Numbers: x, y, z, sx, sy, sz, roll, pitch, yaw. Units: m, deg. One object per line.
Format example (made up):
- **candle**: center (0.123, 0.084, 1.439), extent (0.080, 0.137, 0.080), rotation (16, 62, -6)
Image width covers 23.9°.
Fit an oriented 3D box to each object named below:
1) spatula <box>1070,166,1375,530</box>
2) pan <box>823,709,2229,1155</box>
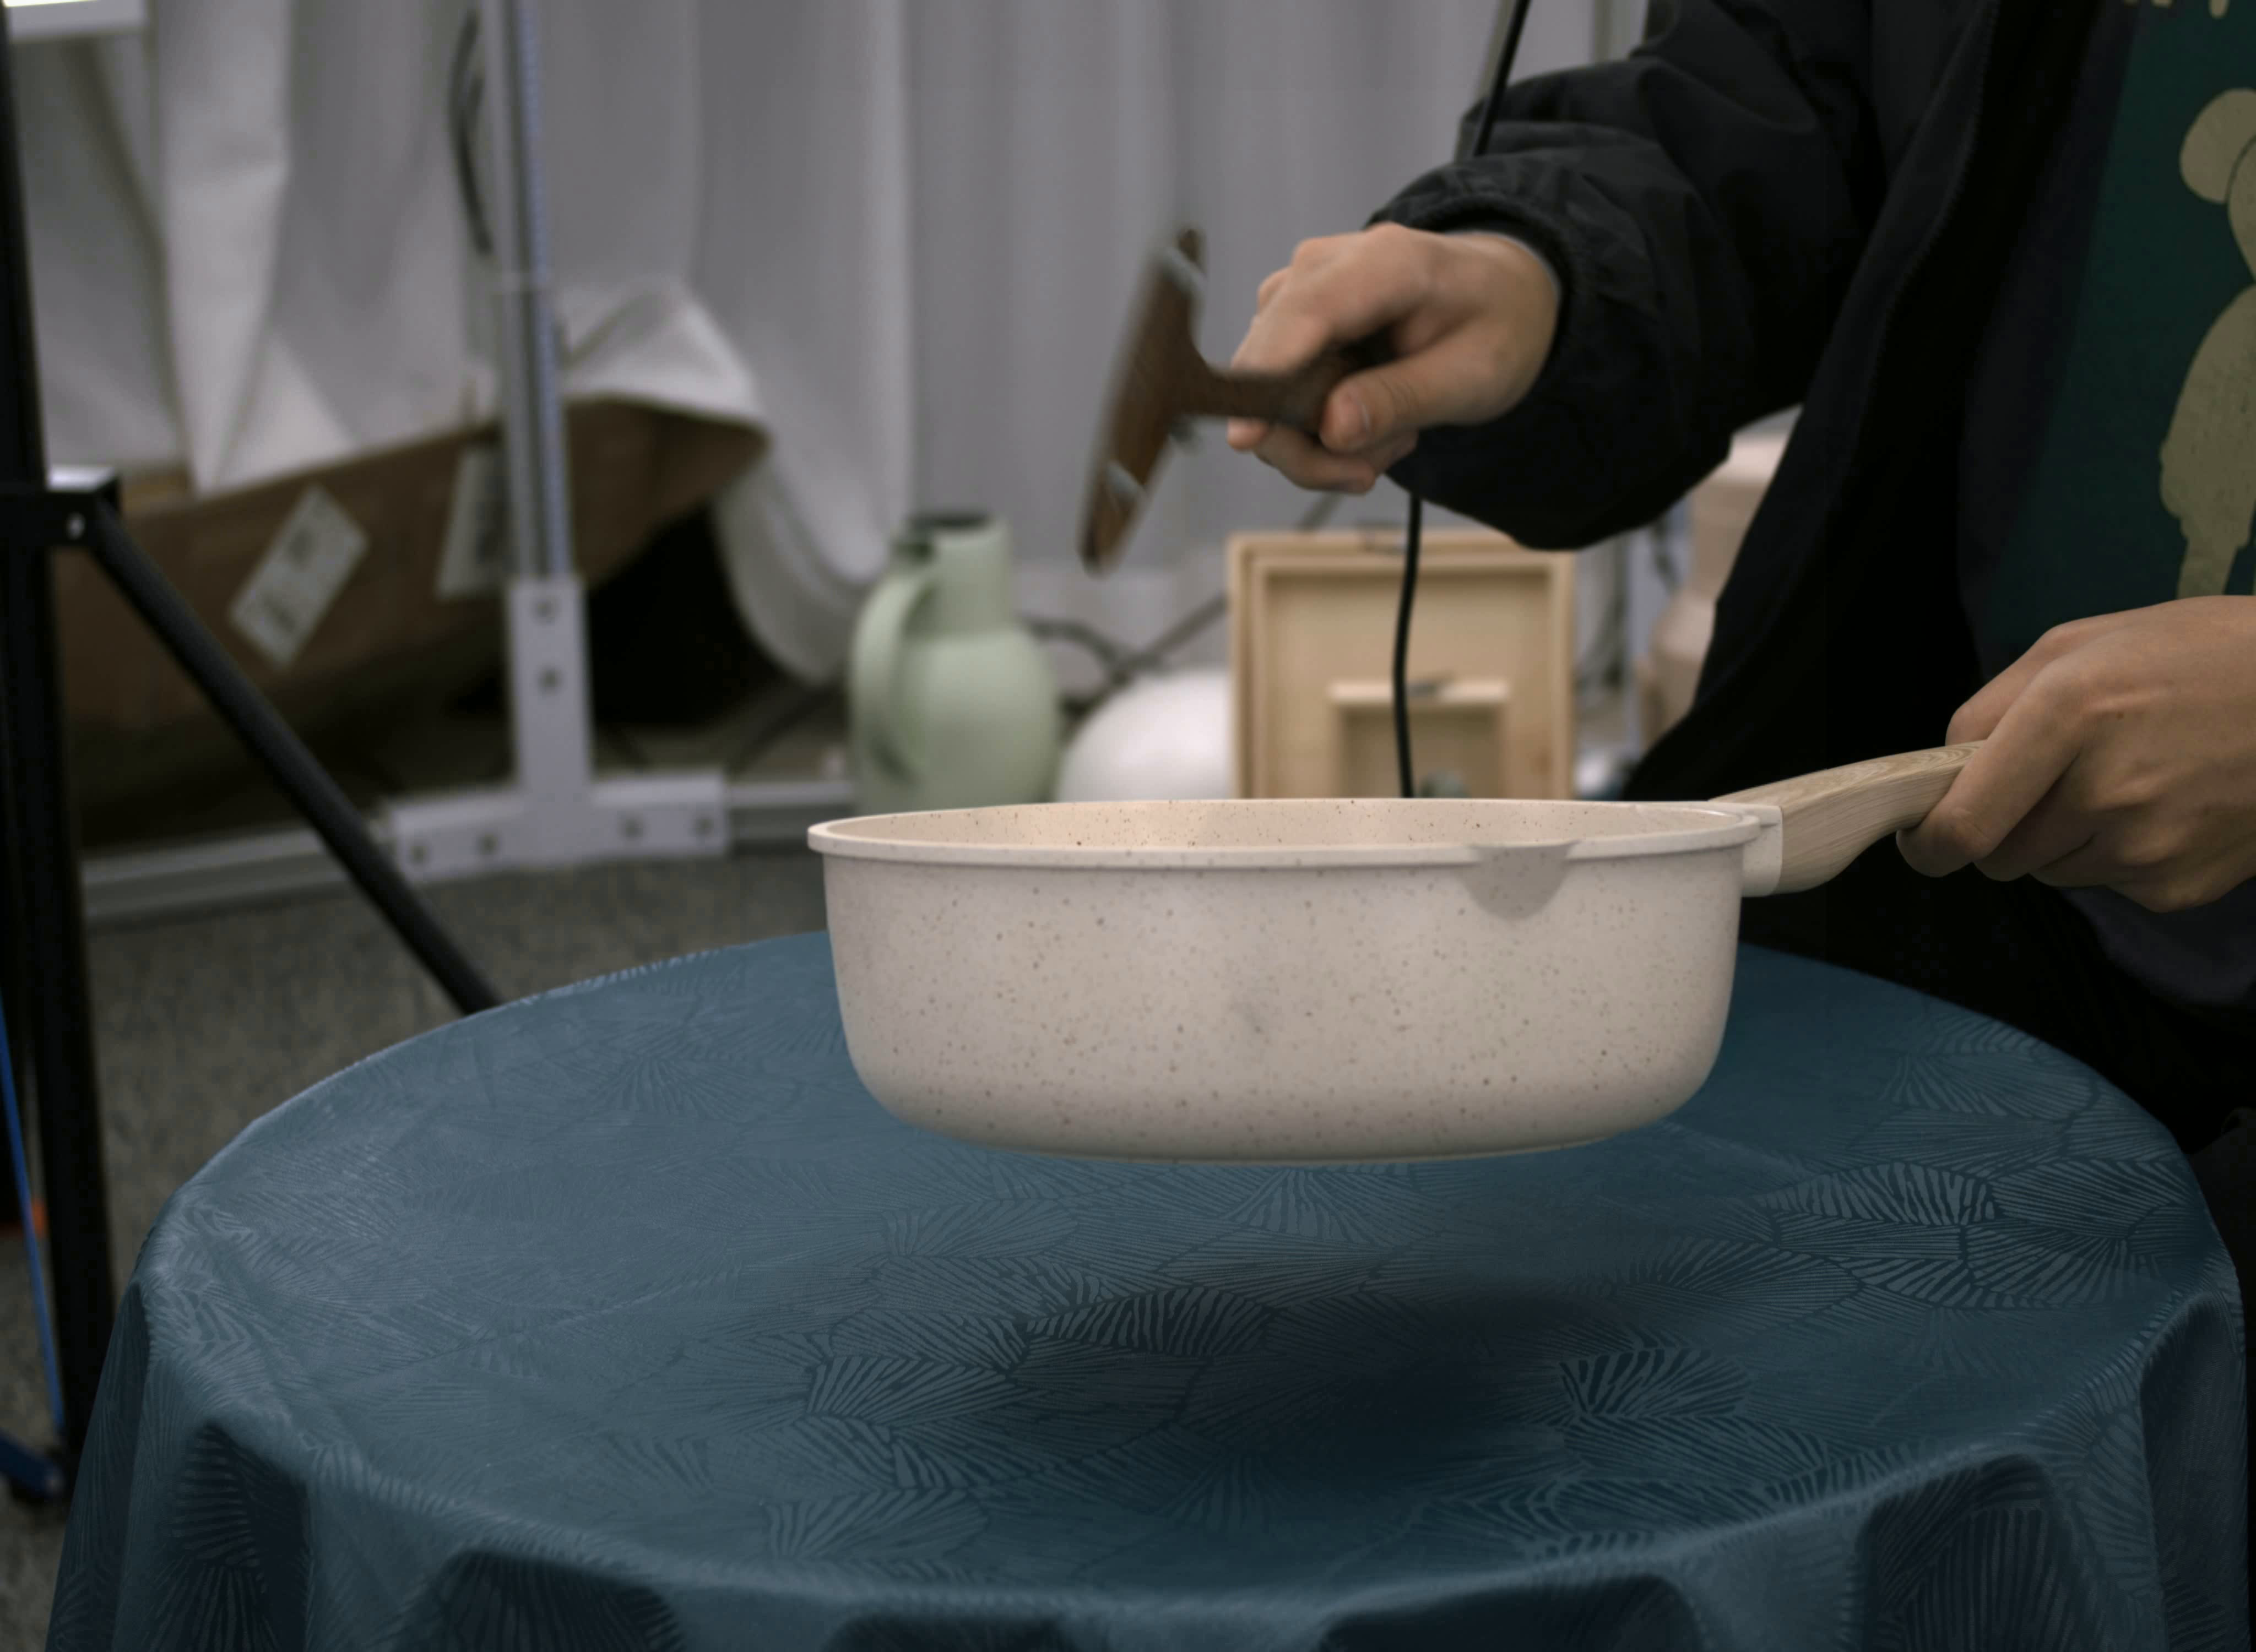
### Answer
- **spatula**: center (0.034, -0.133, 1.550), extent (0.016, 0.096, 0.381), rotation (13, 6, 12)
- **pan**: center (0.127, 0.027, 1.431), extent (0.425, 0.102, 0.268), rotation (-2, 1, -25)
